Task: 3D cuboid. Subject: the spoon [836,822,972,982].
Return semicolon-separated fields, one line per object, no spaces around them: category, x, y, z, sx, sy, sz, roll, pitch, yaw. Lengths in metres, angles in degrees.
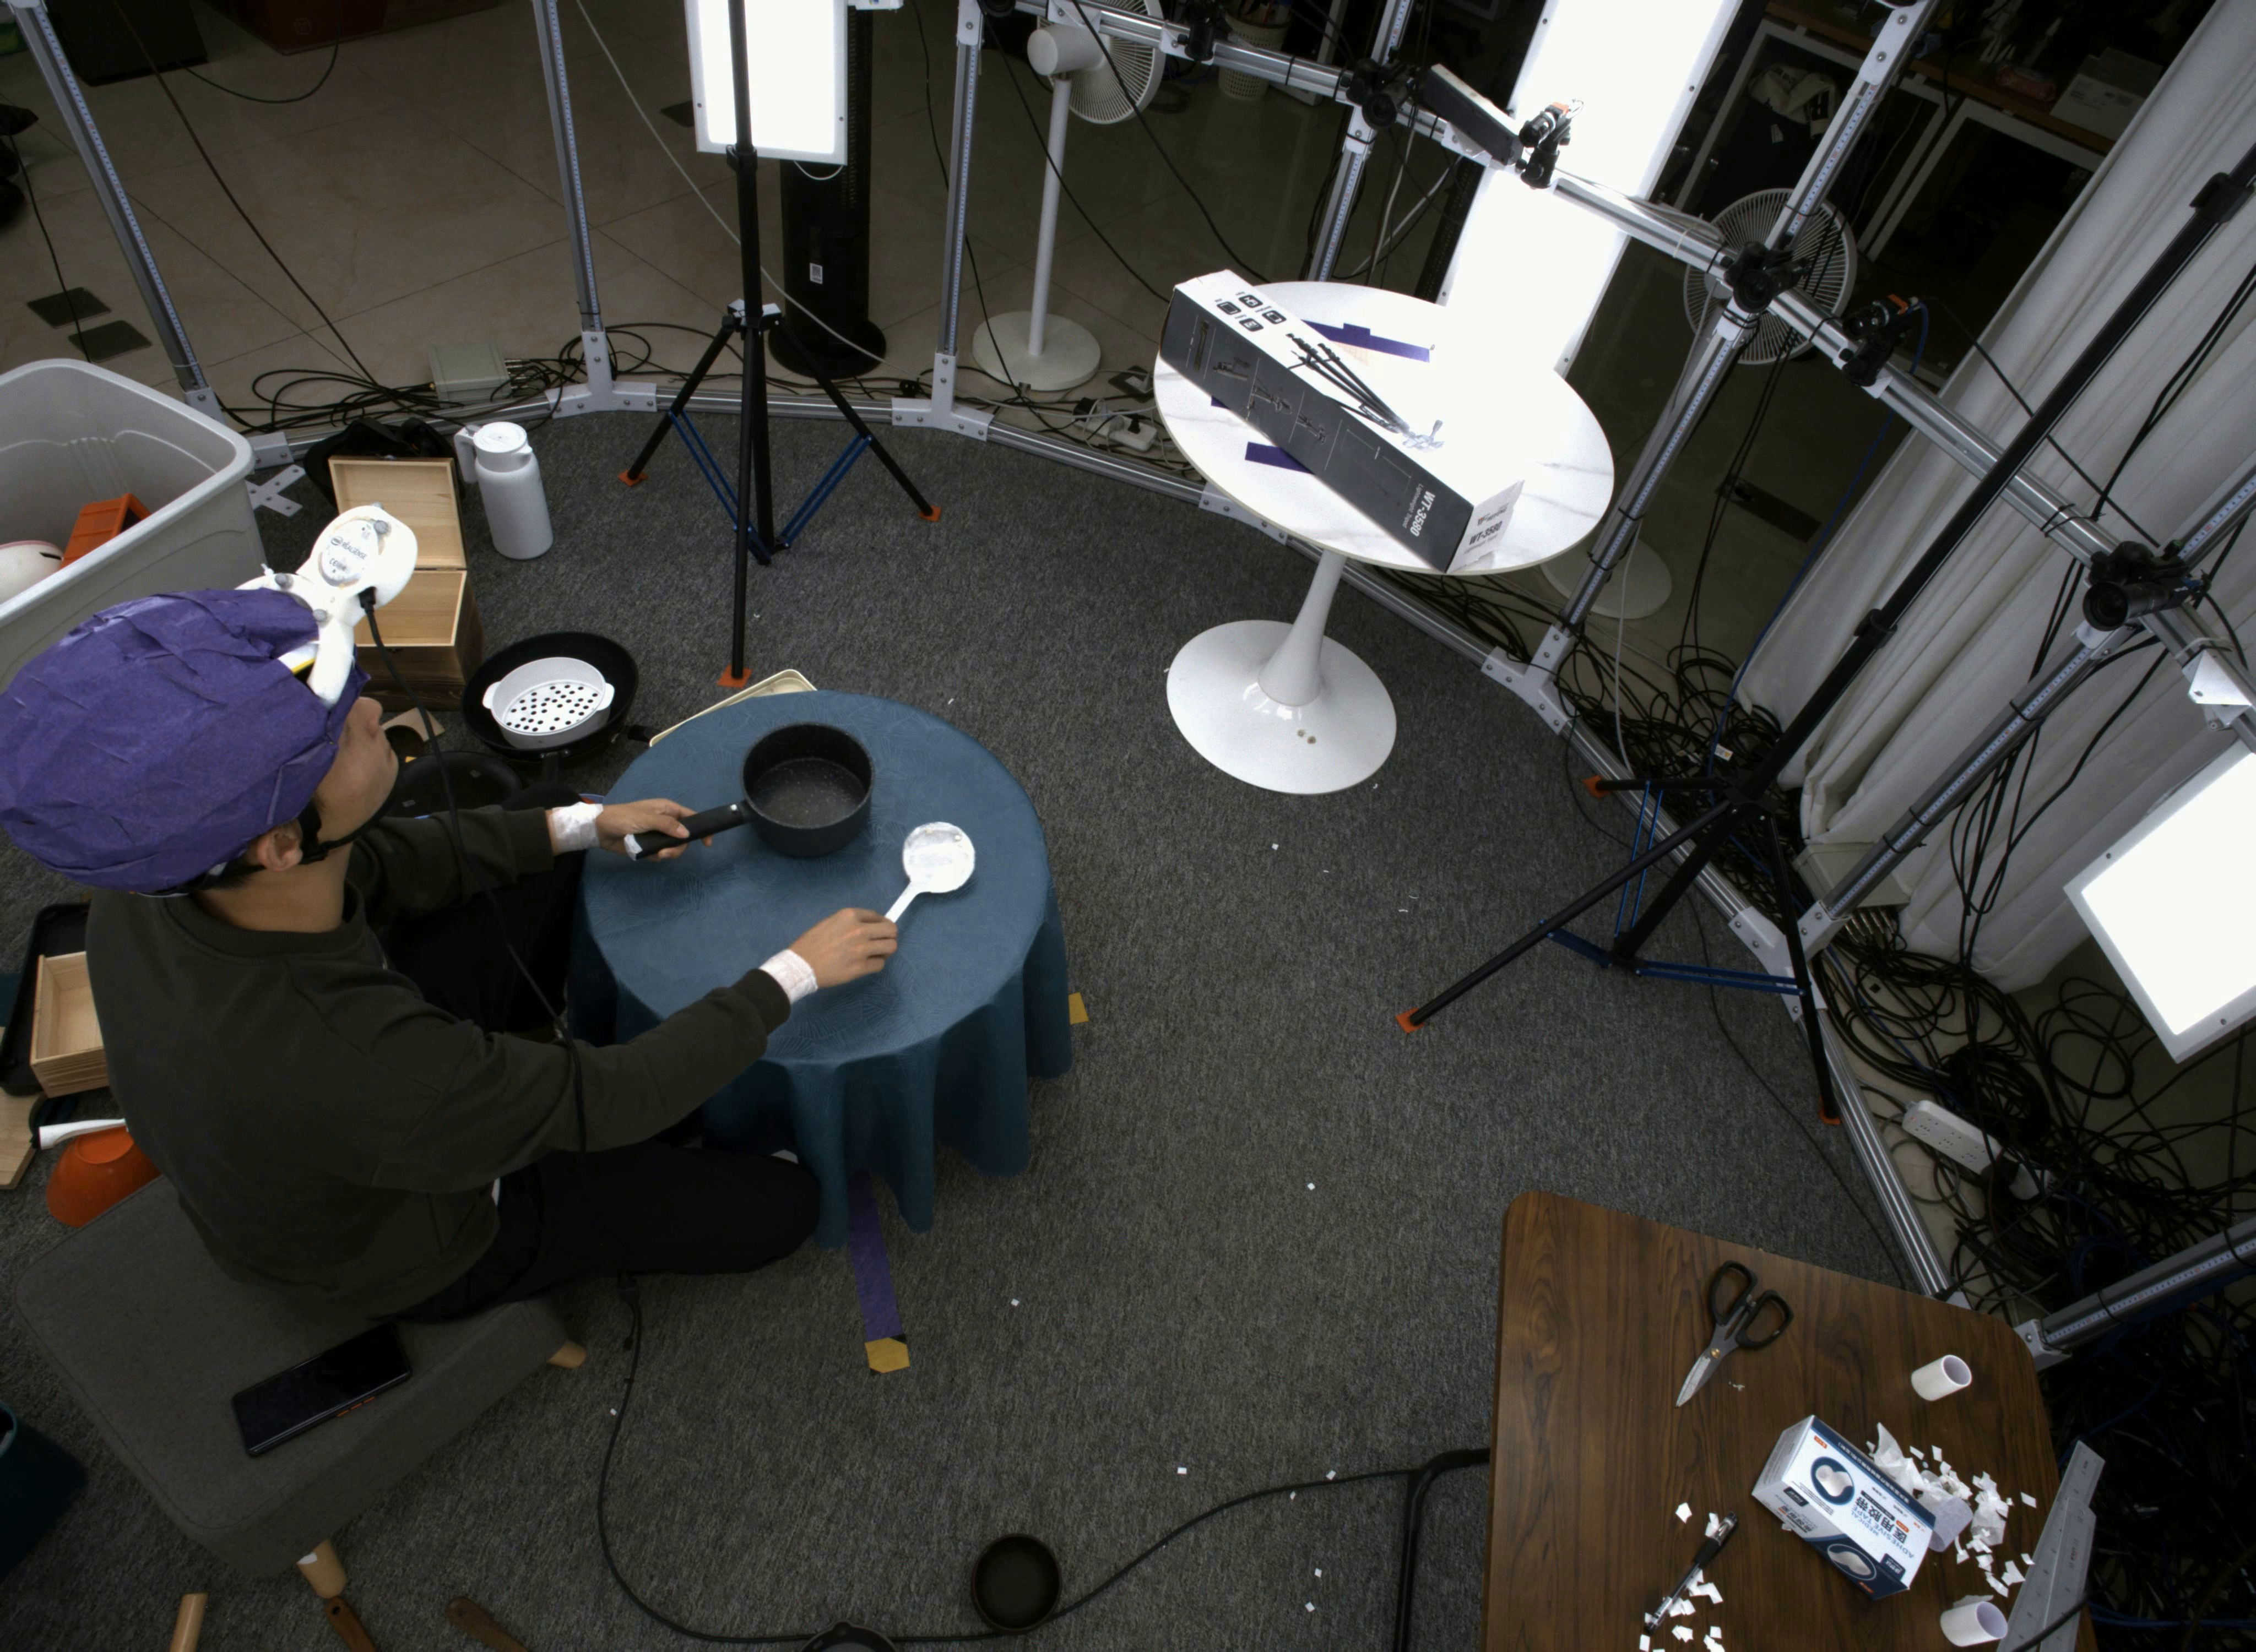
spoon;-0.286;0.089;1.624;0.101;0.059;0.275;38;37;-4

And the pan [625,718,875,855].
pan;-0.483;-0.023;1.666;0.330;0.088;0.168;-23;64;-27
